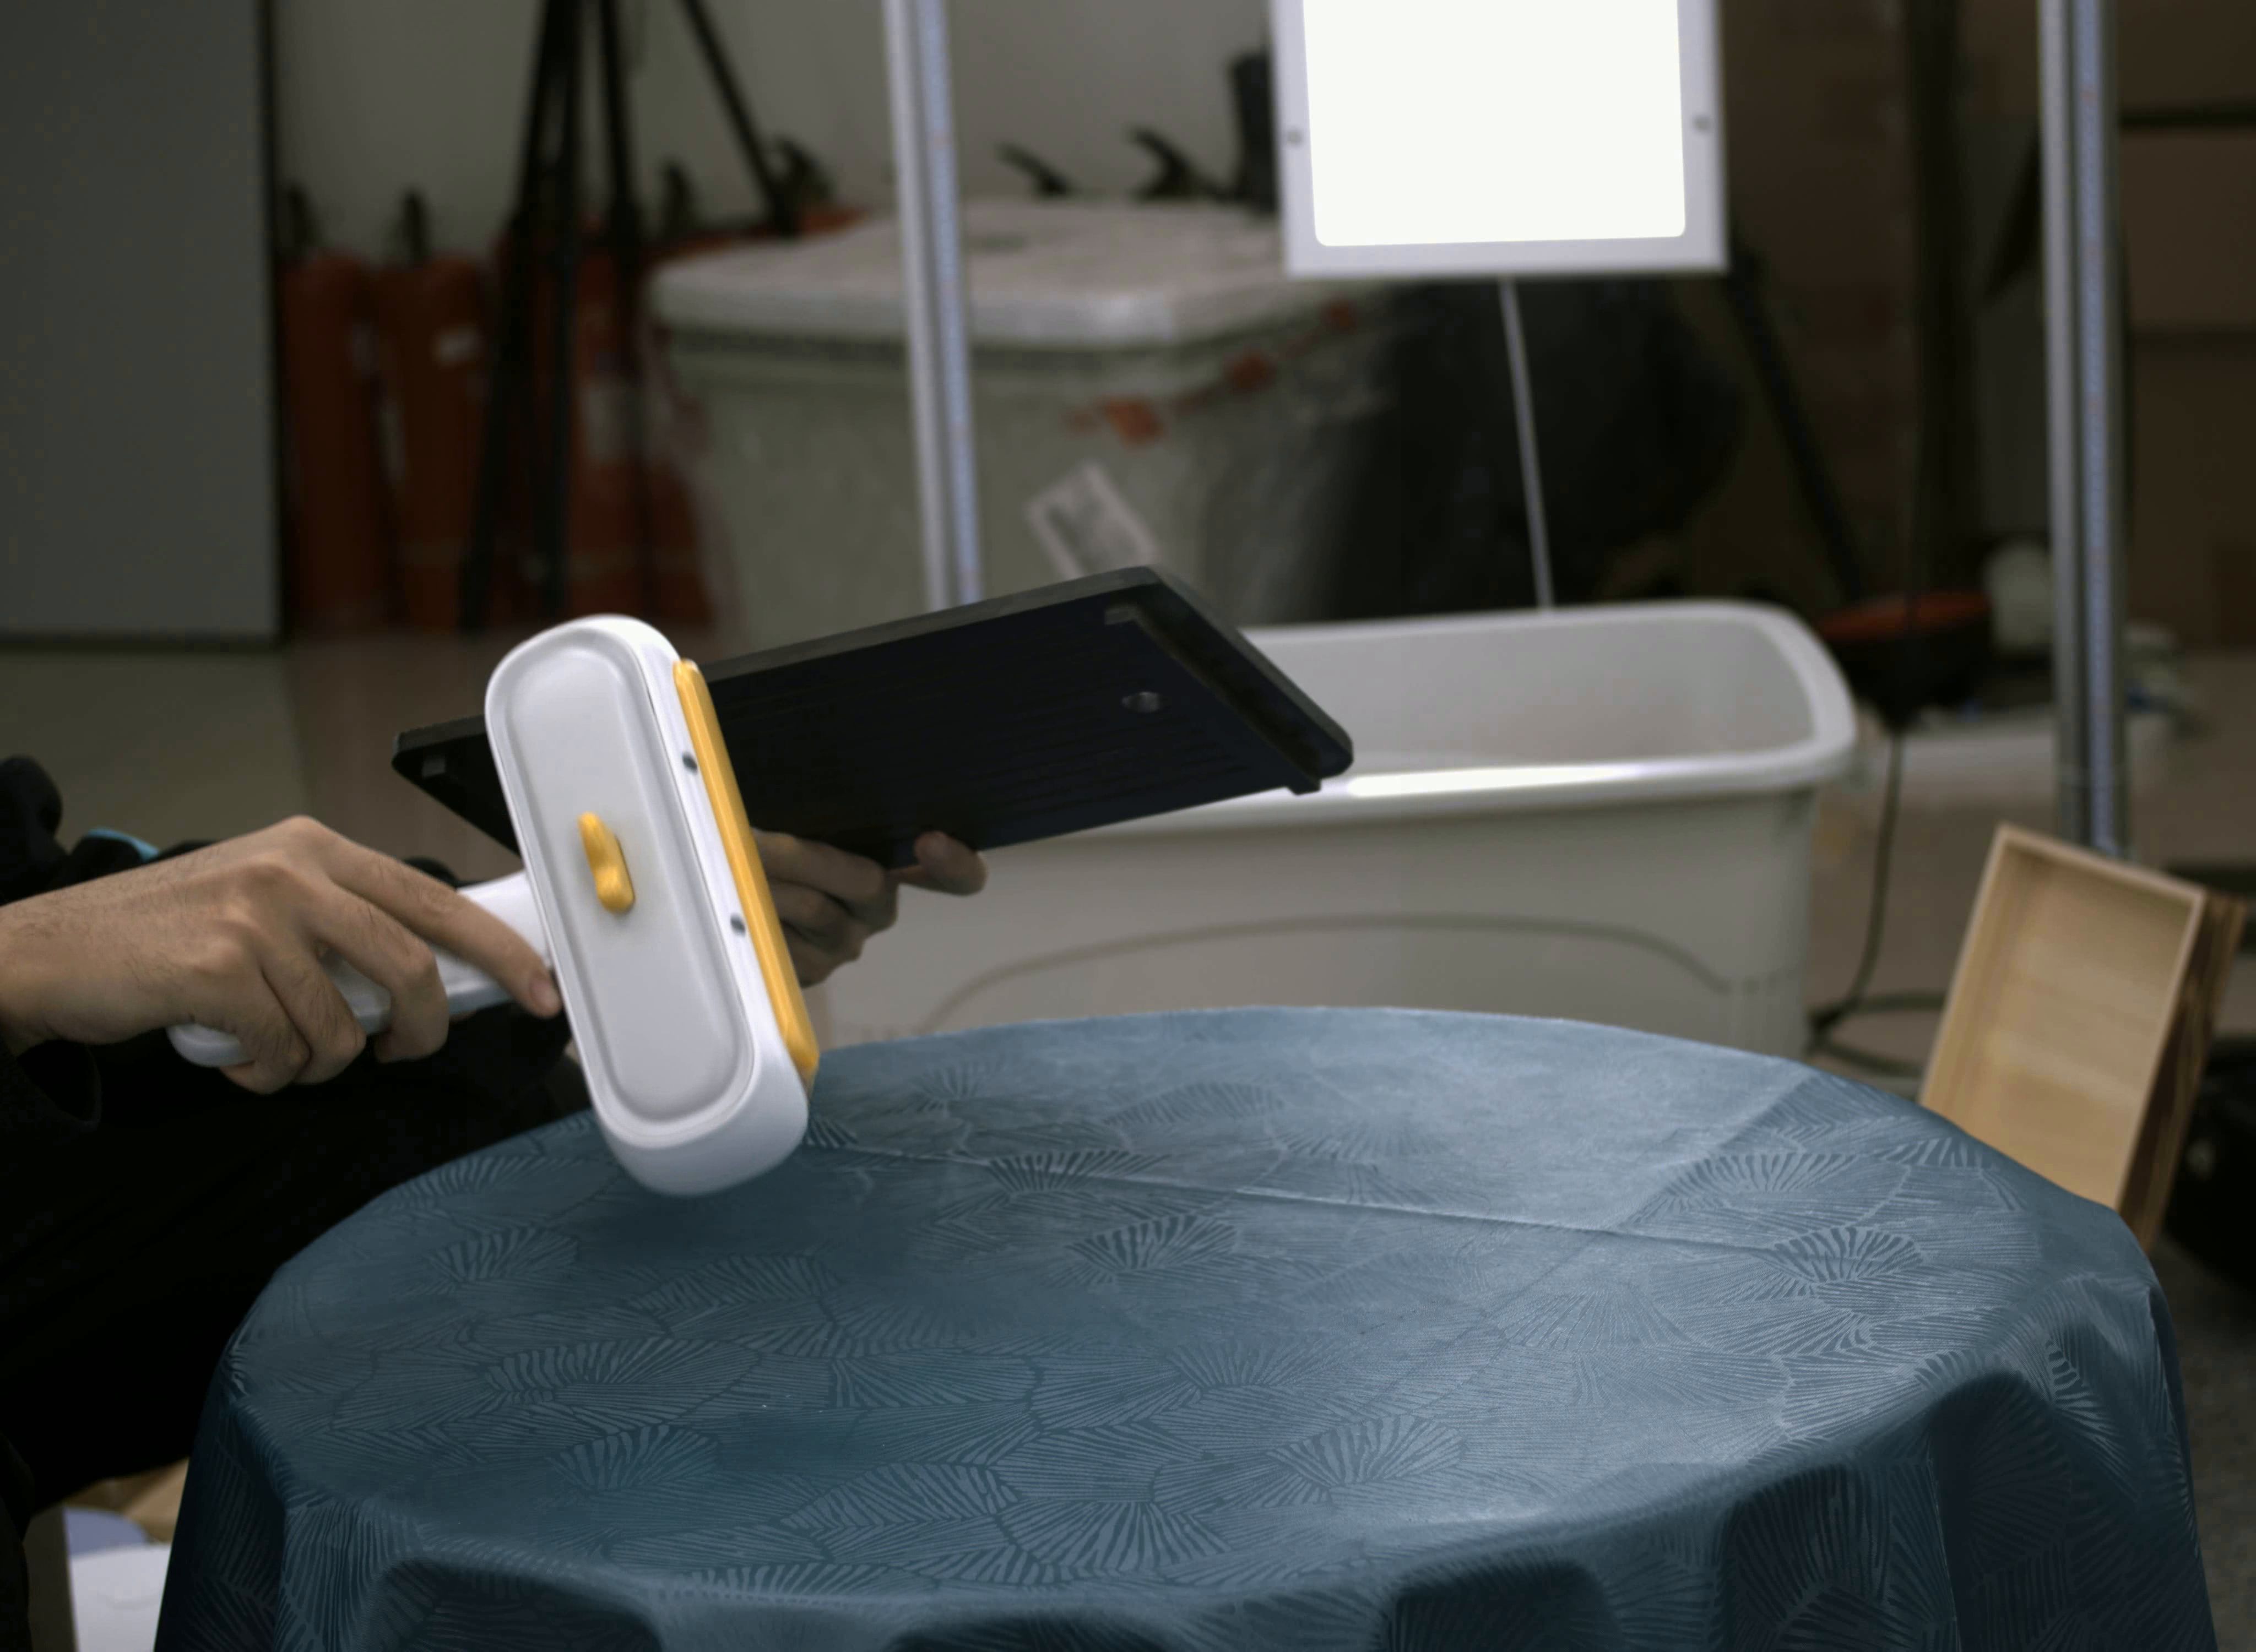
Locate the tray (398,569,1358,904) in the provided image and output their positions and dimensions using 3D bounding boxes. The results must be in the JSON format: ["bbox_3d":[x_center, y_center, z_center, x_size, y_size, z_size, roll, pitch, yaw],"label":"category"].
[{"bbox_3d":[-0.087,-0.020,1.929,0.311,0.018,0.167,-12,-27,25],"label":"tray"}]

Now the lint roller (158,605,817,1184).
[{"bbox_3d":[-0.210,0.040,1.738,0.192,0.194,0.074,-22,-17,2],"label":"lint roller"}]
